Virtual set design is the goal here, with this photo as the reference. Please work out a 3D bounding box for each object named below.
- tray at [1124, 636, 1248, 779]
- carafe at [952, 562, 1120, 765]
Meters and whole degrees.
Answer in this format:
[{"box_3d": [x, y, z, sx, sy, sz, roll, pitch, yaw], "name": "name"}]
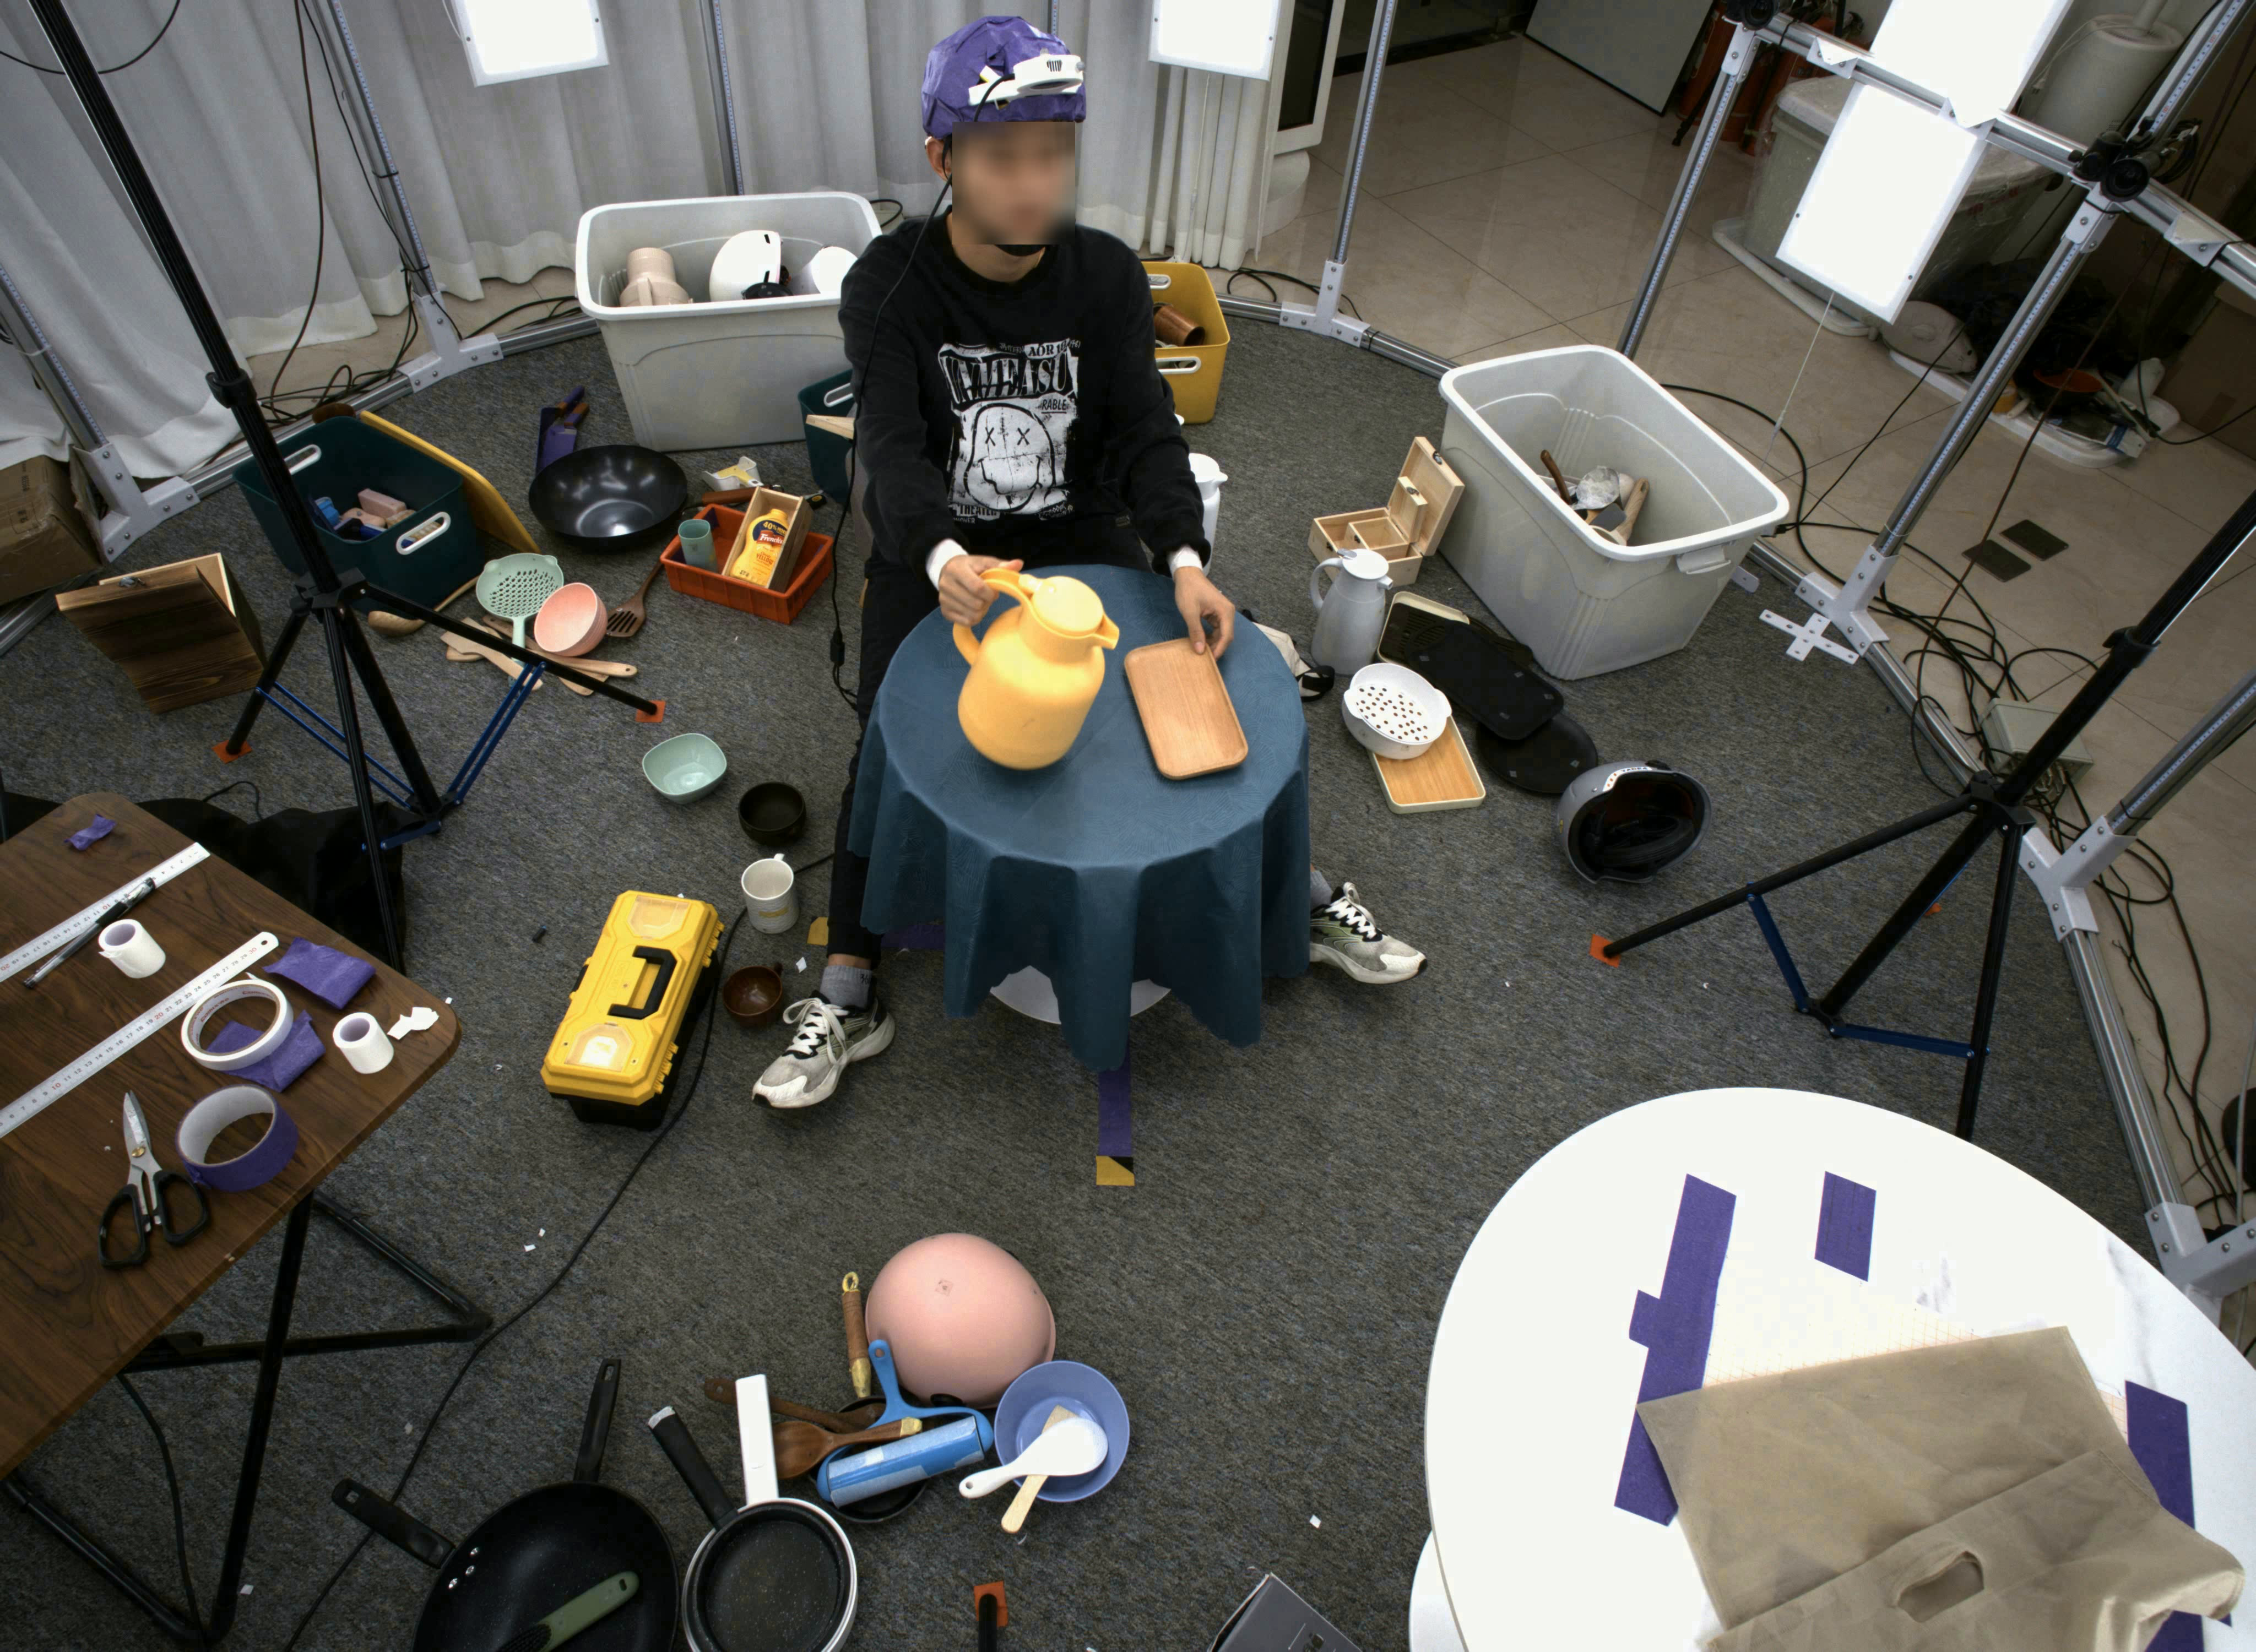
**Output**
[{"box_3d": [0.079, -0.169, 1.798, 0.130, 0.022, 0.257, -11, 51, -6], "name": "tray"}, {"box_3d": [-0.131, -0.215, 1.628, 0.202, 0.256, 0.166, 33, 47, -2], "name": "carafe"}]
